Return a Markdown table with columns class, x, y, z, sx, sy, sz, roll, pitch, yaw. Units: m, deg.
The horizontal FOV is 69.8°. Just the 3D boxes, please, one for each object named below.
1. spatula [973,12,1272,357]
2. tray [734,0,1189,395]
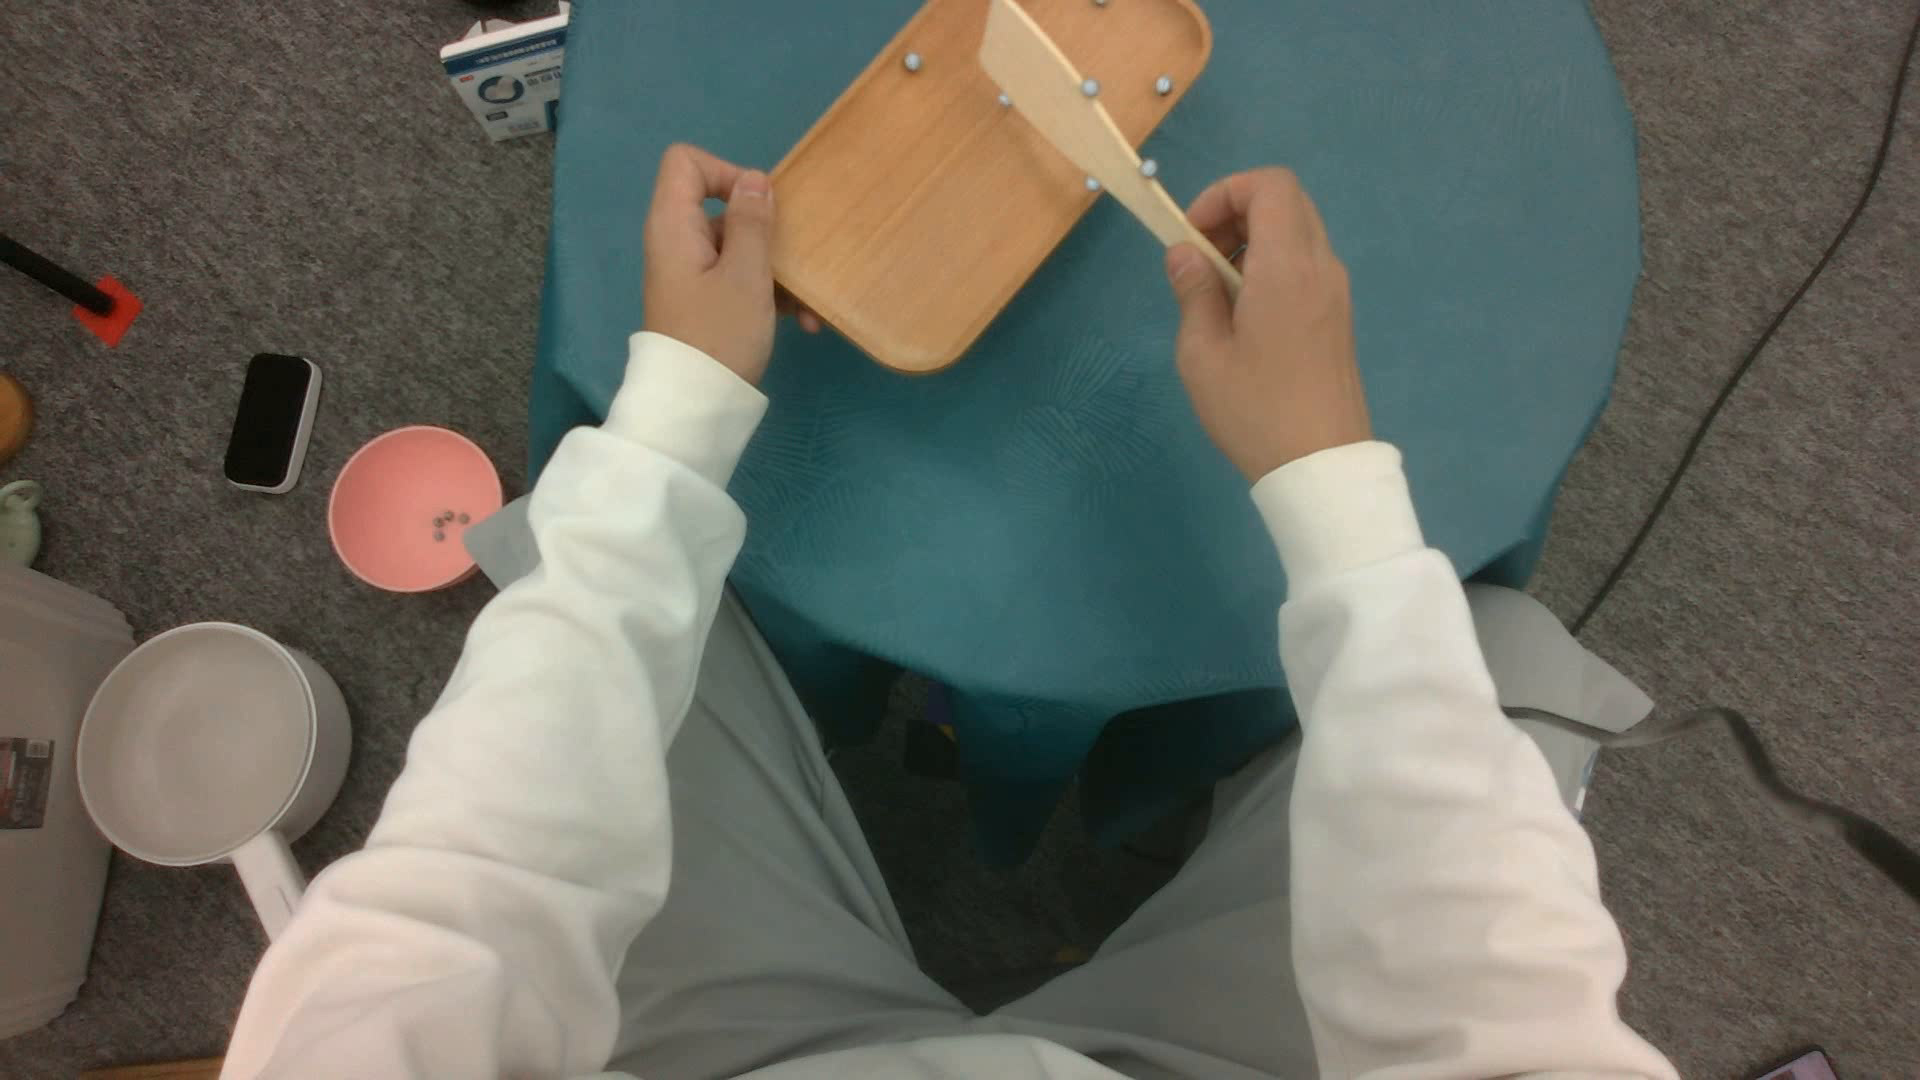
| class | x | y | z | sx | sy | sz | roll | pitch | yaw |
| --- | --- | --- | --- | --- | --- | --- | --- | --- | --- |
| spatula | 0.075 | -0.164 | 0.649 | 0.005 | 0.050 | 0.208 | -36 | 78 | -18 |
| tray | 0.004 | -0.190 | 0.688 | 0.130 | 0.023 | 0.251 | 35 | 76 | 10 |
